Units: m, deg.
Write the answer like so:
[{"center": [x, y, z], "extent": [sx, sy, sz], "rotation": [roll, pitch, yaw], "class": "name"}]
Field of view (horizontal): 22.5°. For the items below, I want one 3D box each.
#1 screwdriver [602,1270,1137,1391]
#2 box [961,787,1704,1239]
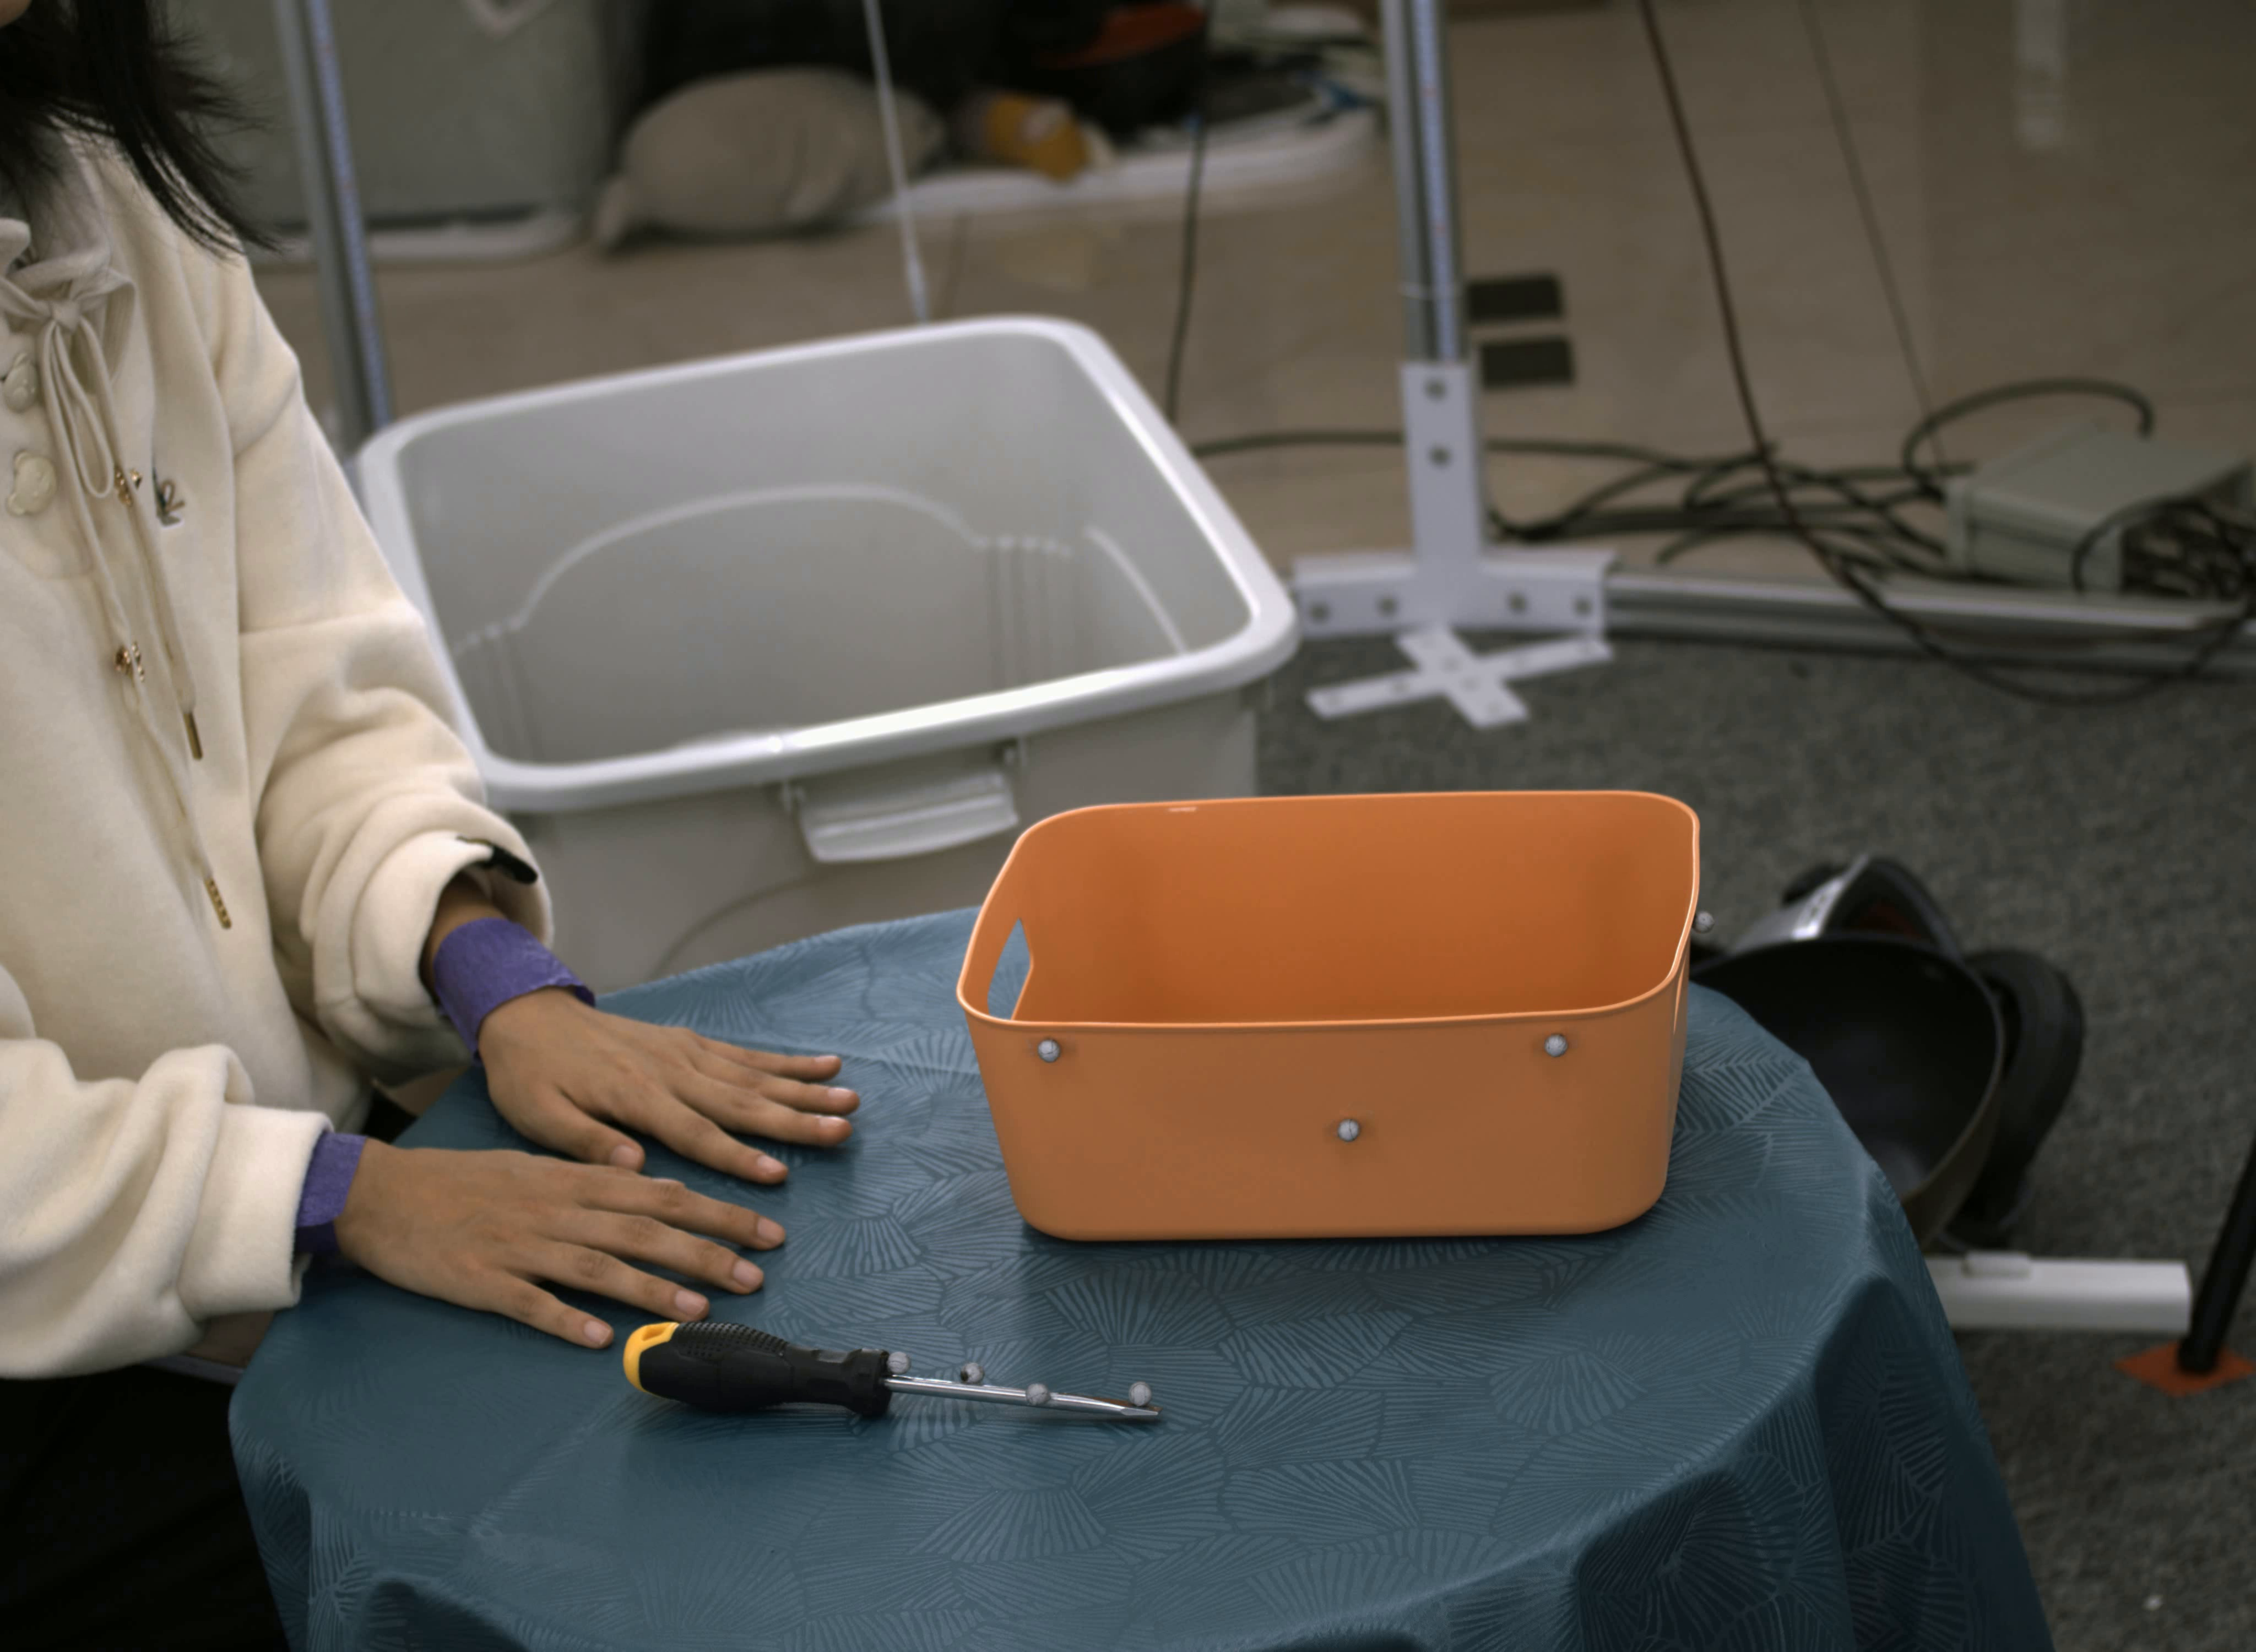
[{"center": [-0.092, 0.184, 2.022], "extent": [0.197, 0.032, 0.031], "rotation": [9, 28, 9], "class": "screwdriver"}, {"center": [0.083, 0.072, 2.146], "extent": [0.273, 0.104, 0.196], "rotation": [-1, 26, 10], "class": "box"}]
